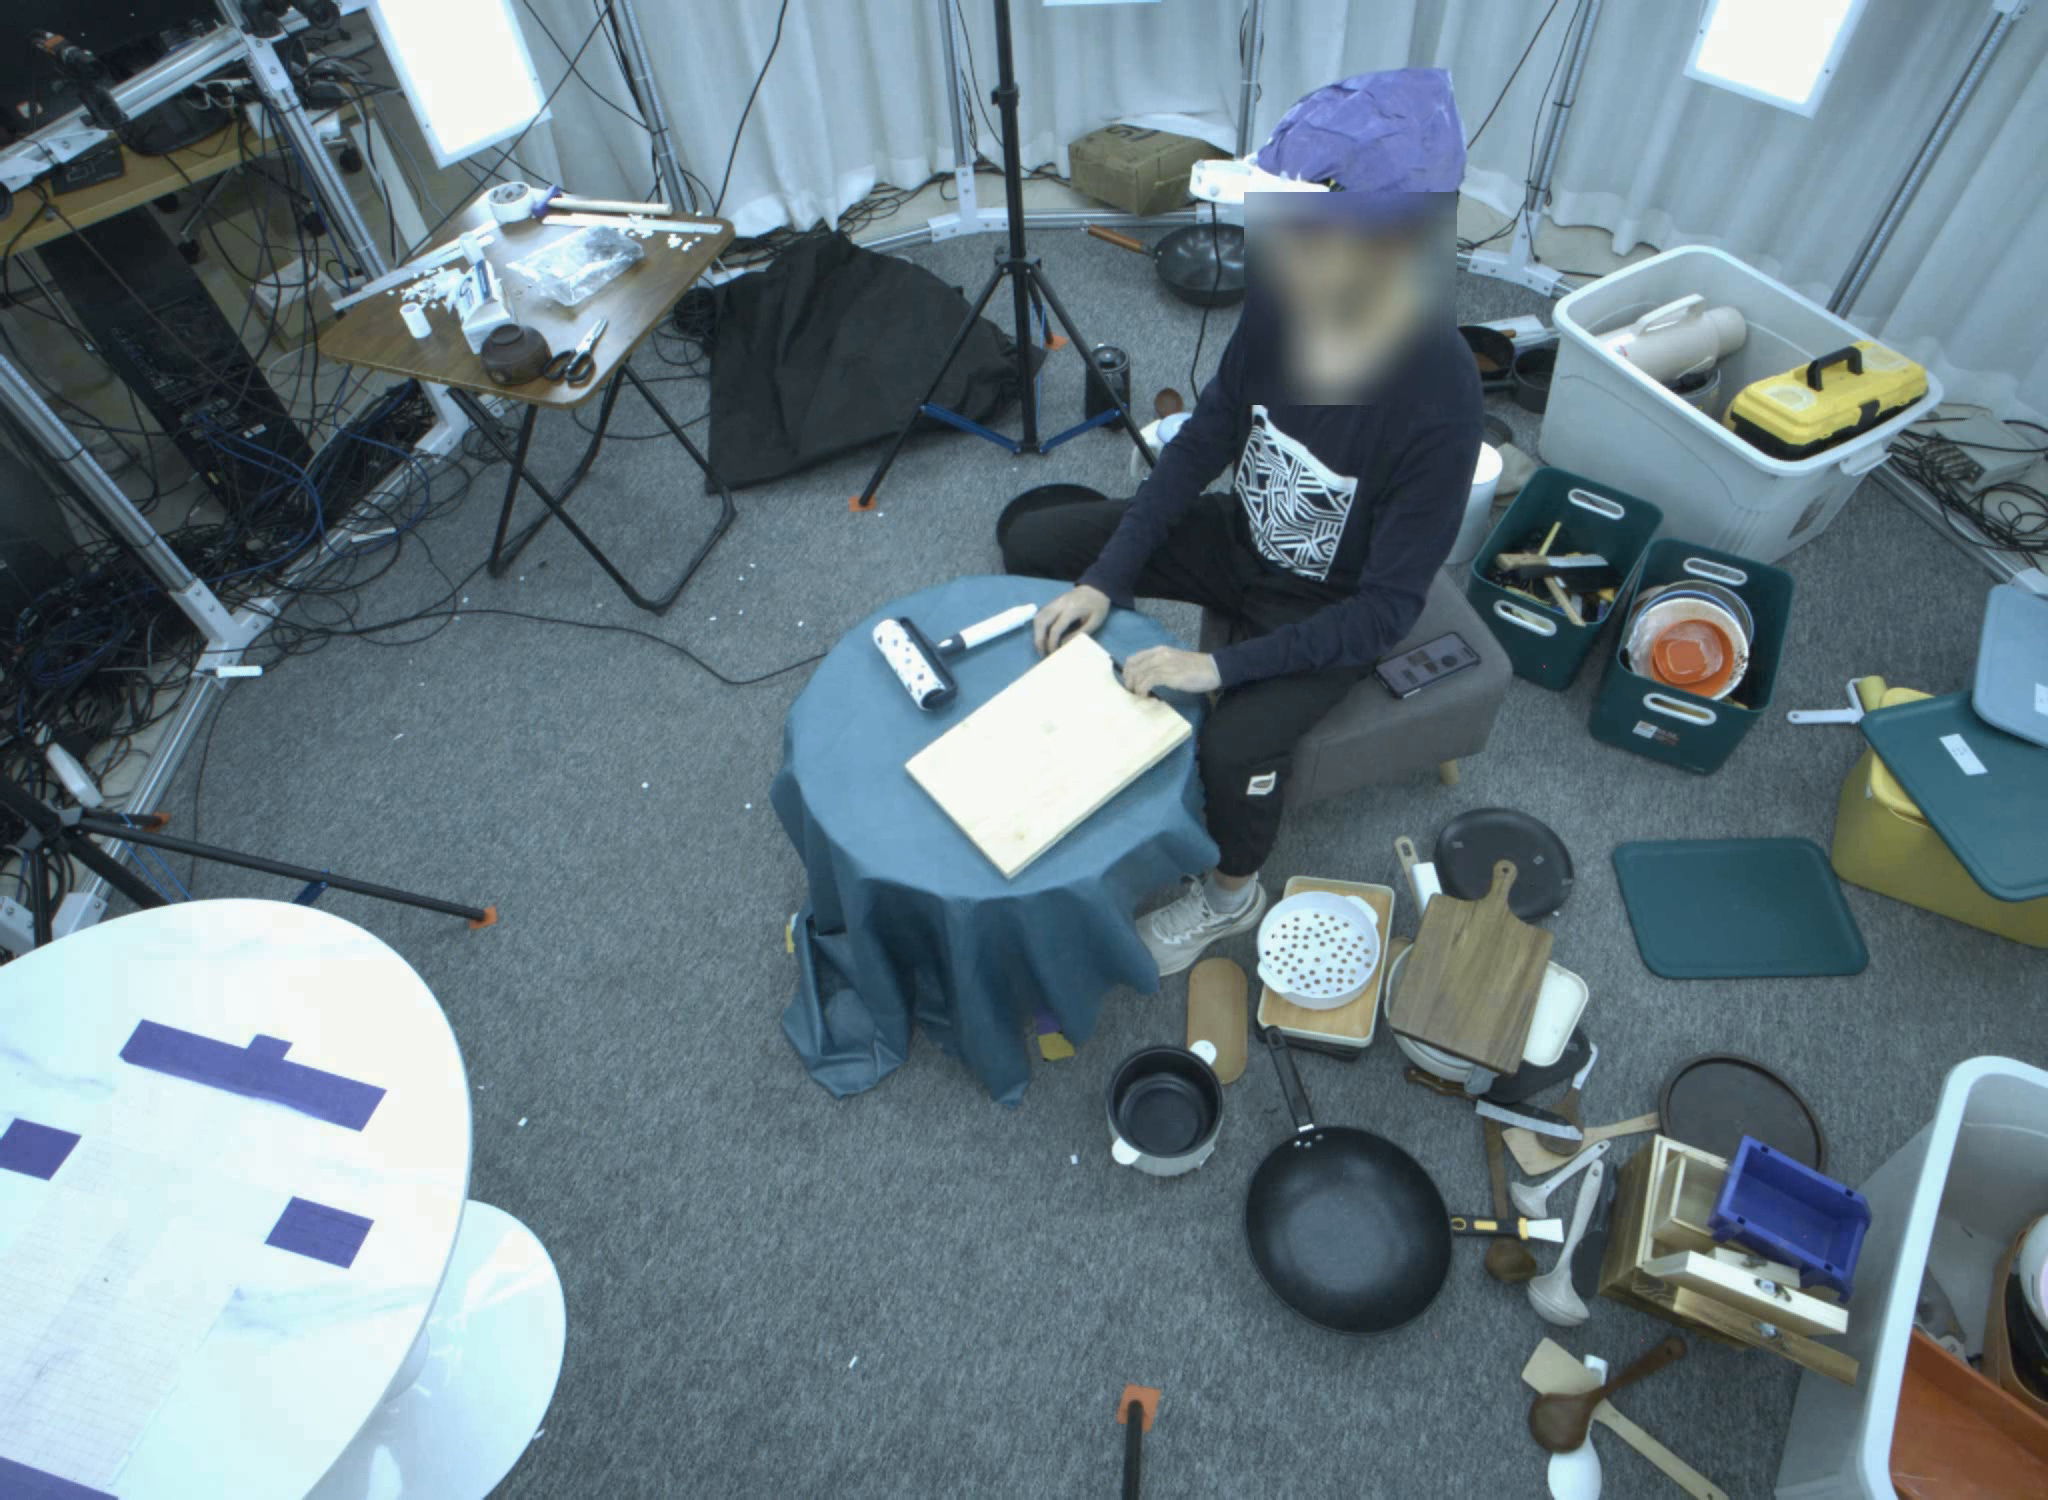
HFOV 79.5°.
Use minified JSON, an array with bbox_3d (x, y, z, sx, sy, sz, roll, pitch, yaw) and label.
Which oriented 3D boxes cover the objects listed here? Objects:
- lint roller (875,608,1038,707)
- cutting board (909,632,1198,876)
[{"bbox_3d":[-0.088,-0.174,1.896,0.249,0.051,0.173,-26,56,-19],"label":"lint roller"},{"bbox_3d":[0.038,-0.004,1.766,0.350,0.024,0.246,-38,62,-16],"label":"cutting board"}]
